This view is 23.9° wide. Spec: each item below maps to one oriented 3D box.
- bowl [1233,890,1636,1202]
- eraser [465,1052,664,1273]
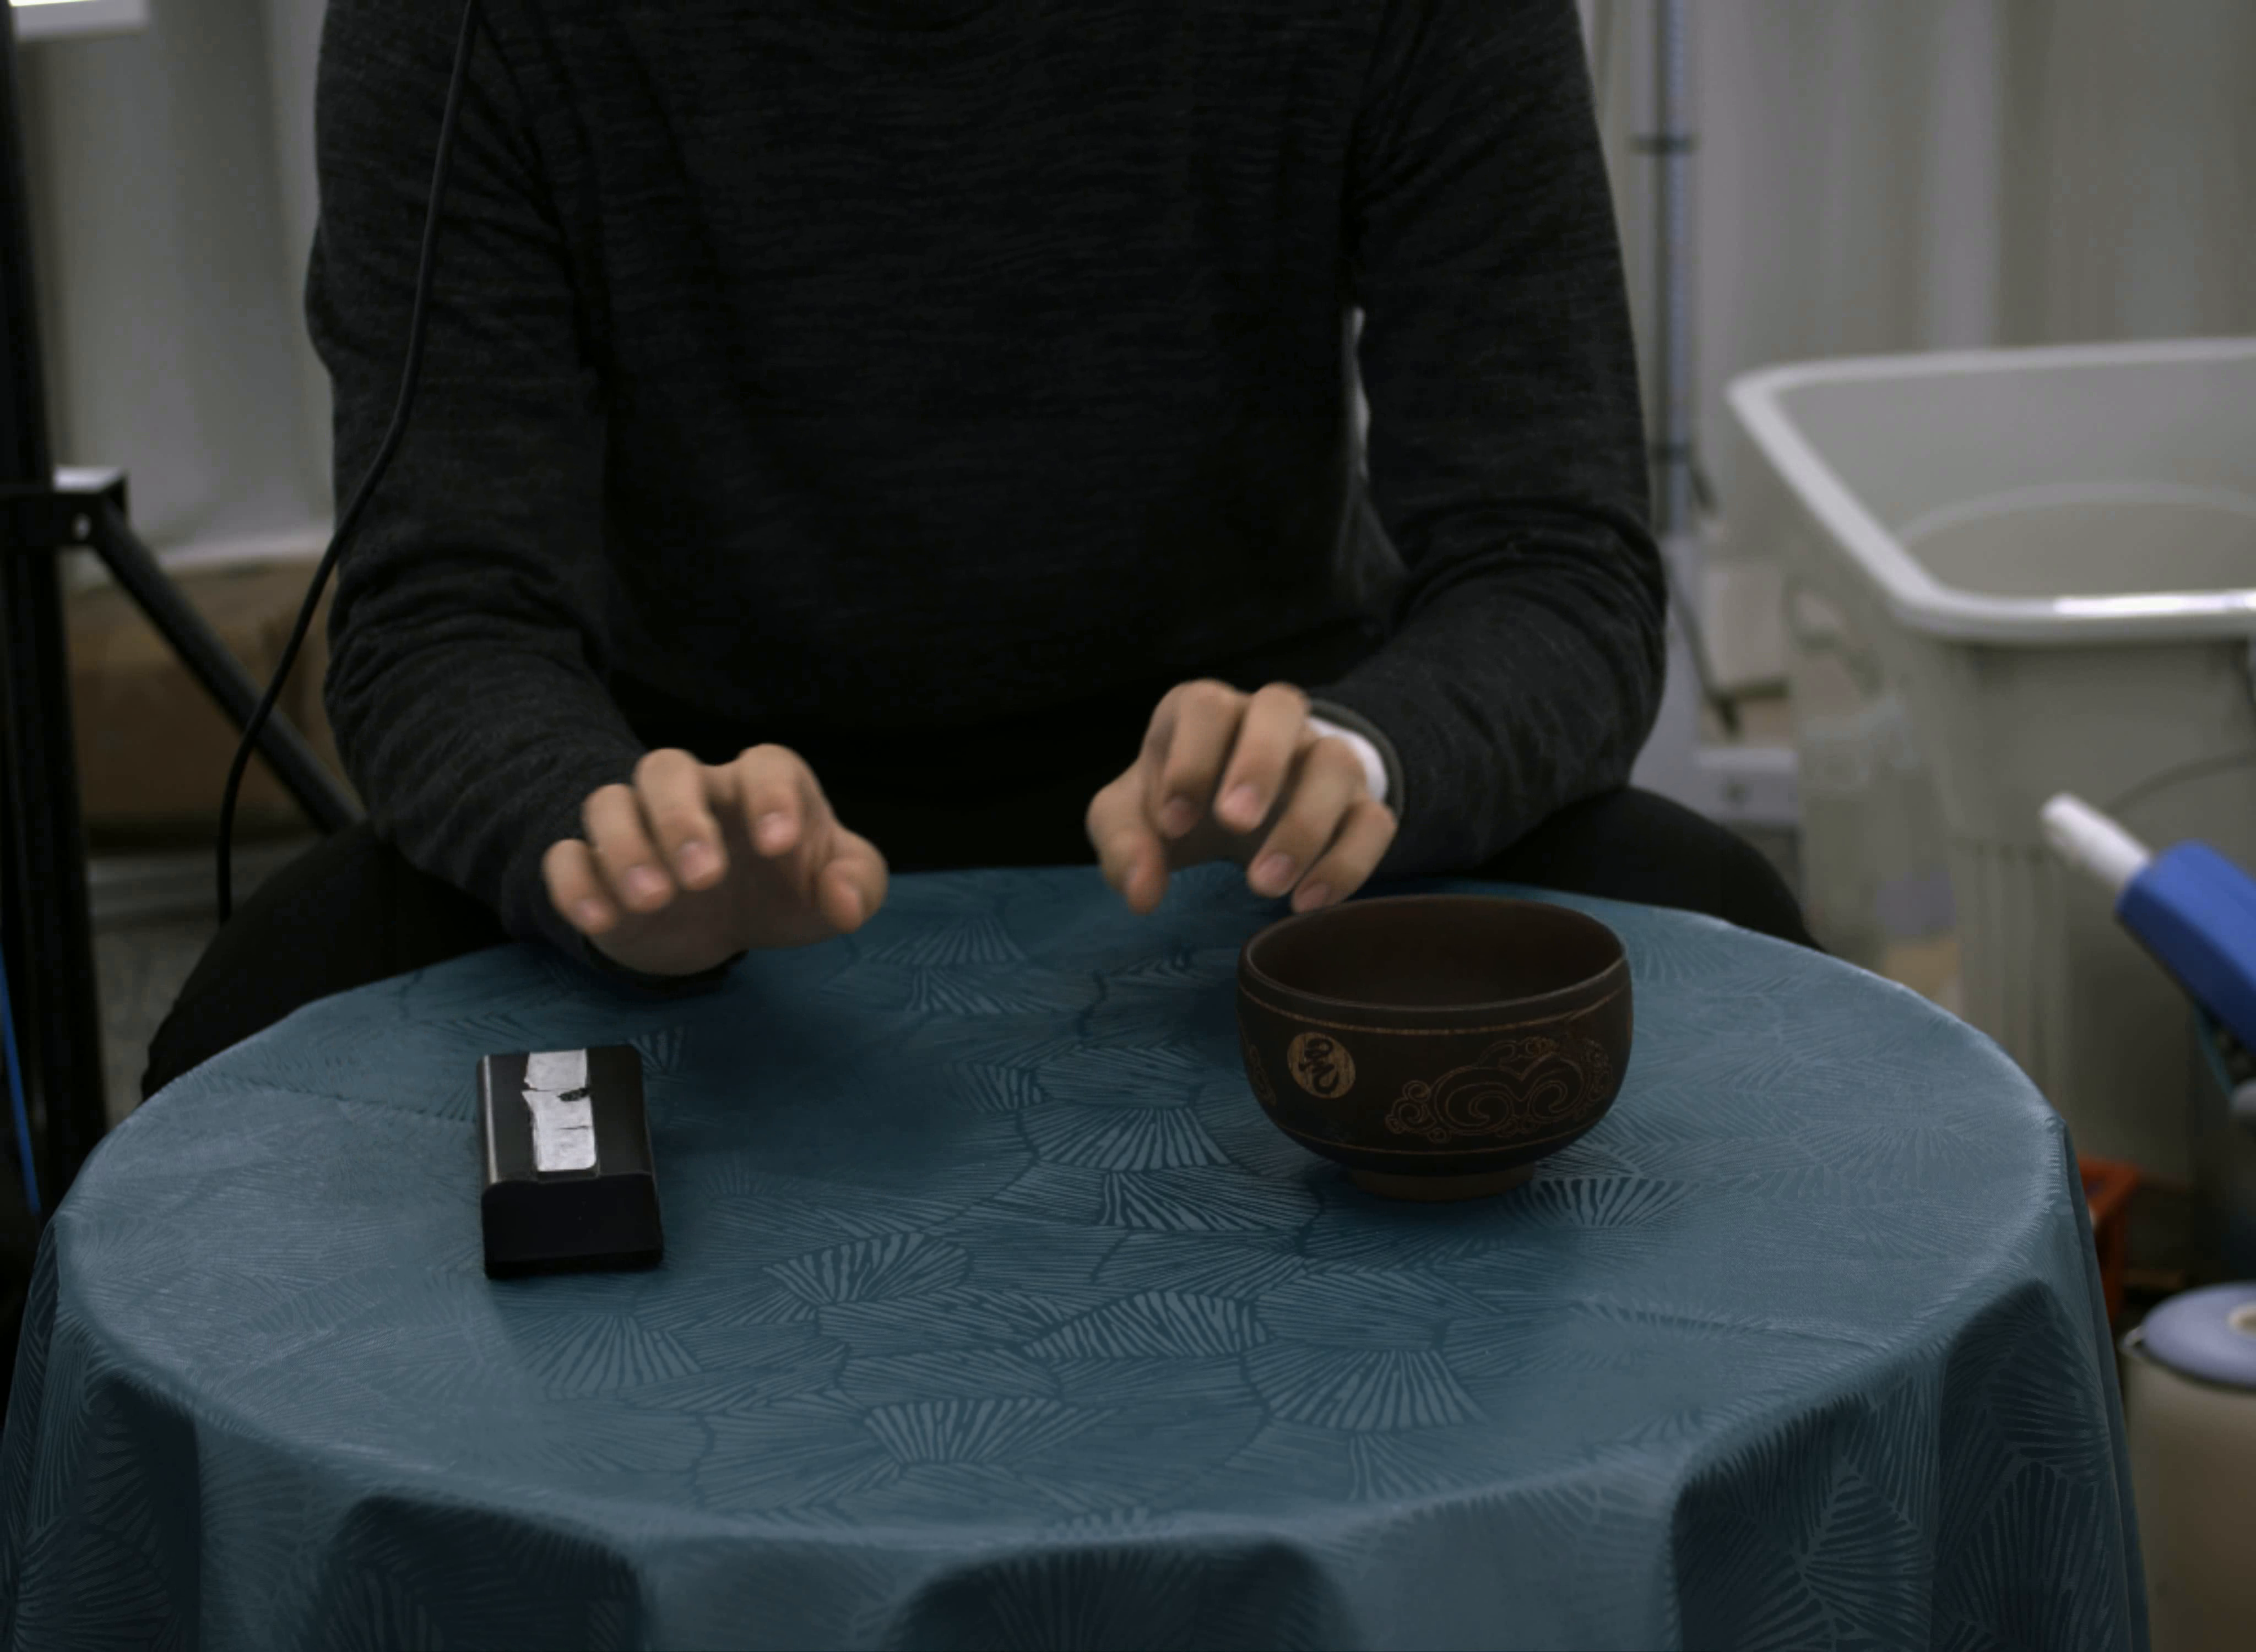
[{"bbox_3d":[0.091,0.068,1.553,0.117,0.070,0.118,-5,16,0],"label":"bowl"},{"bbox_3d":[-0.166,0.098,1.567,0.053,0.030,0.127,-2,15,-8],"label":"eraser"}]
